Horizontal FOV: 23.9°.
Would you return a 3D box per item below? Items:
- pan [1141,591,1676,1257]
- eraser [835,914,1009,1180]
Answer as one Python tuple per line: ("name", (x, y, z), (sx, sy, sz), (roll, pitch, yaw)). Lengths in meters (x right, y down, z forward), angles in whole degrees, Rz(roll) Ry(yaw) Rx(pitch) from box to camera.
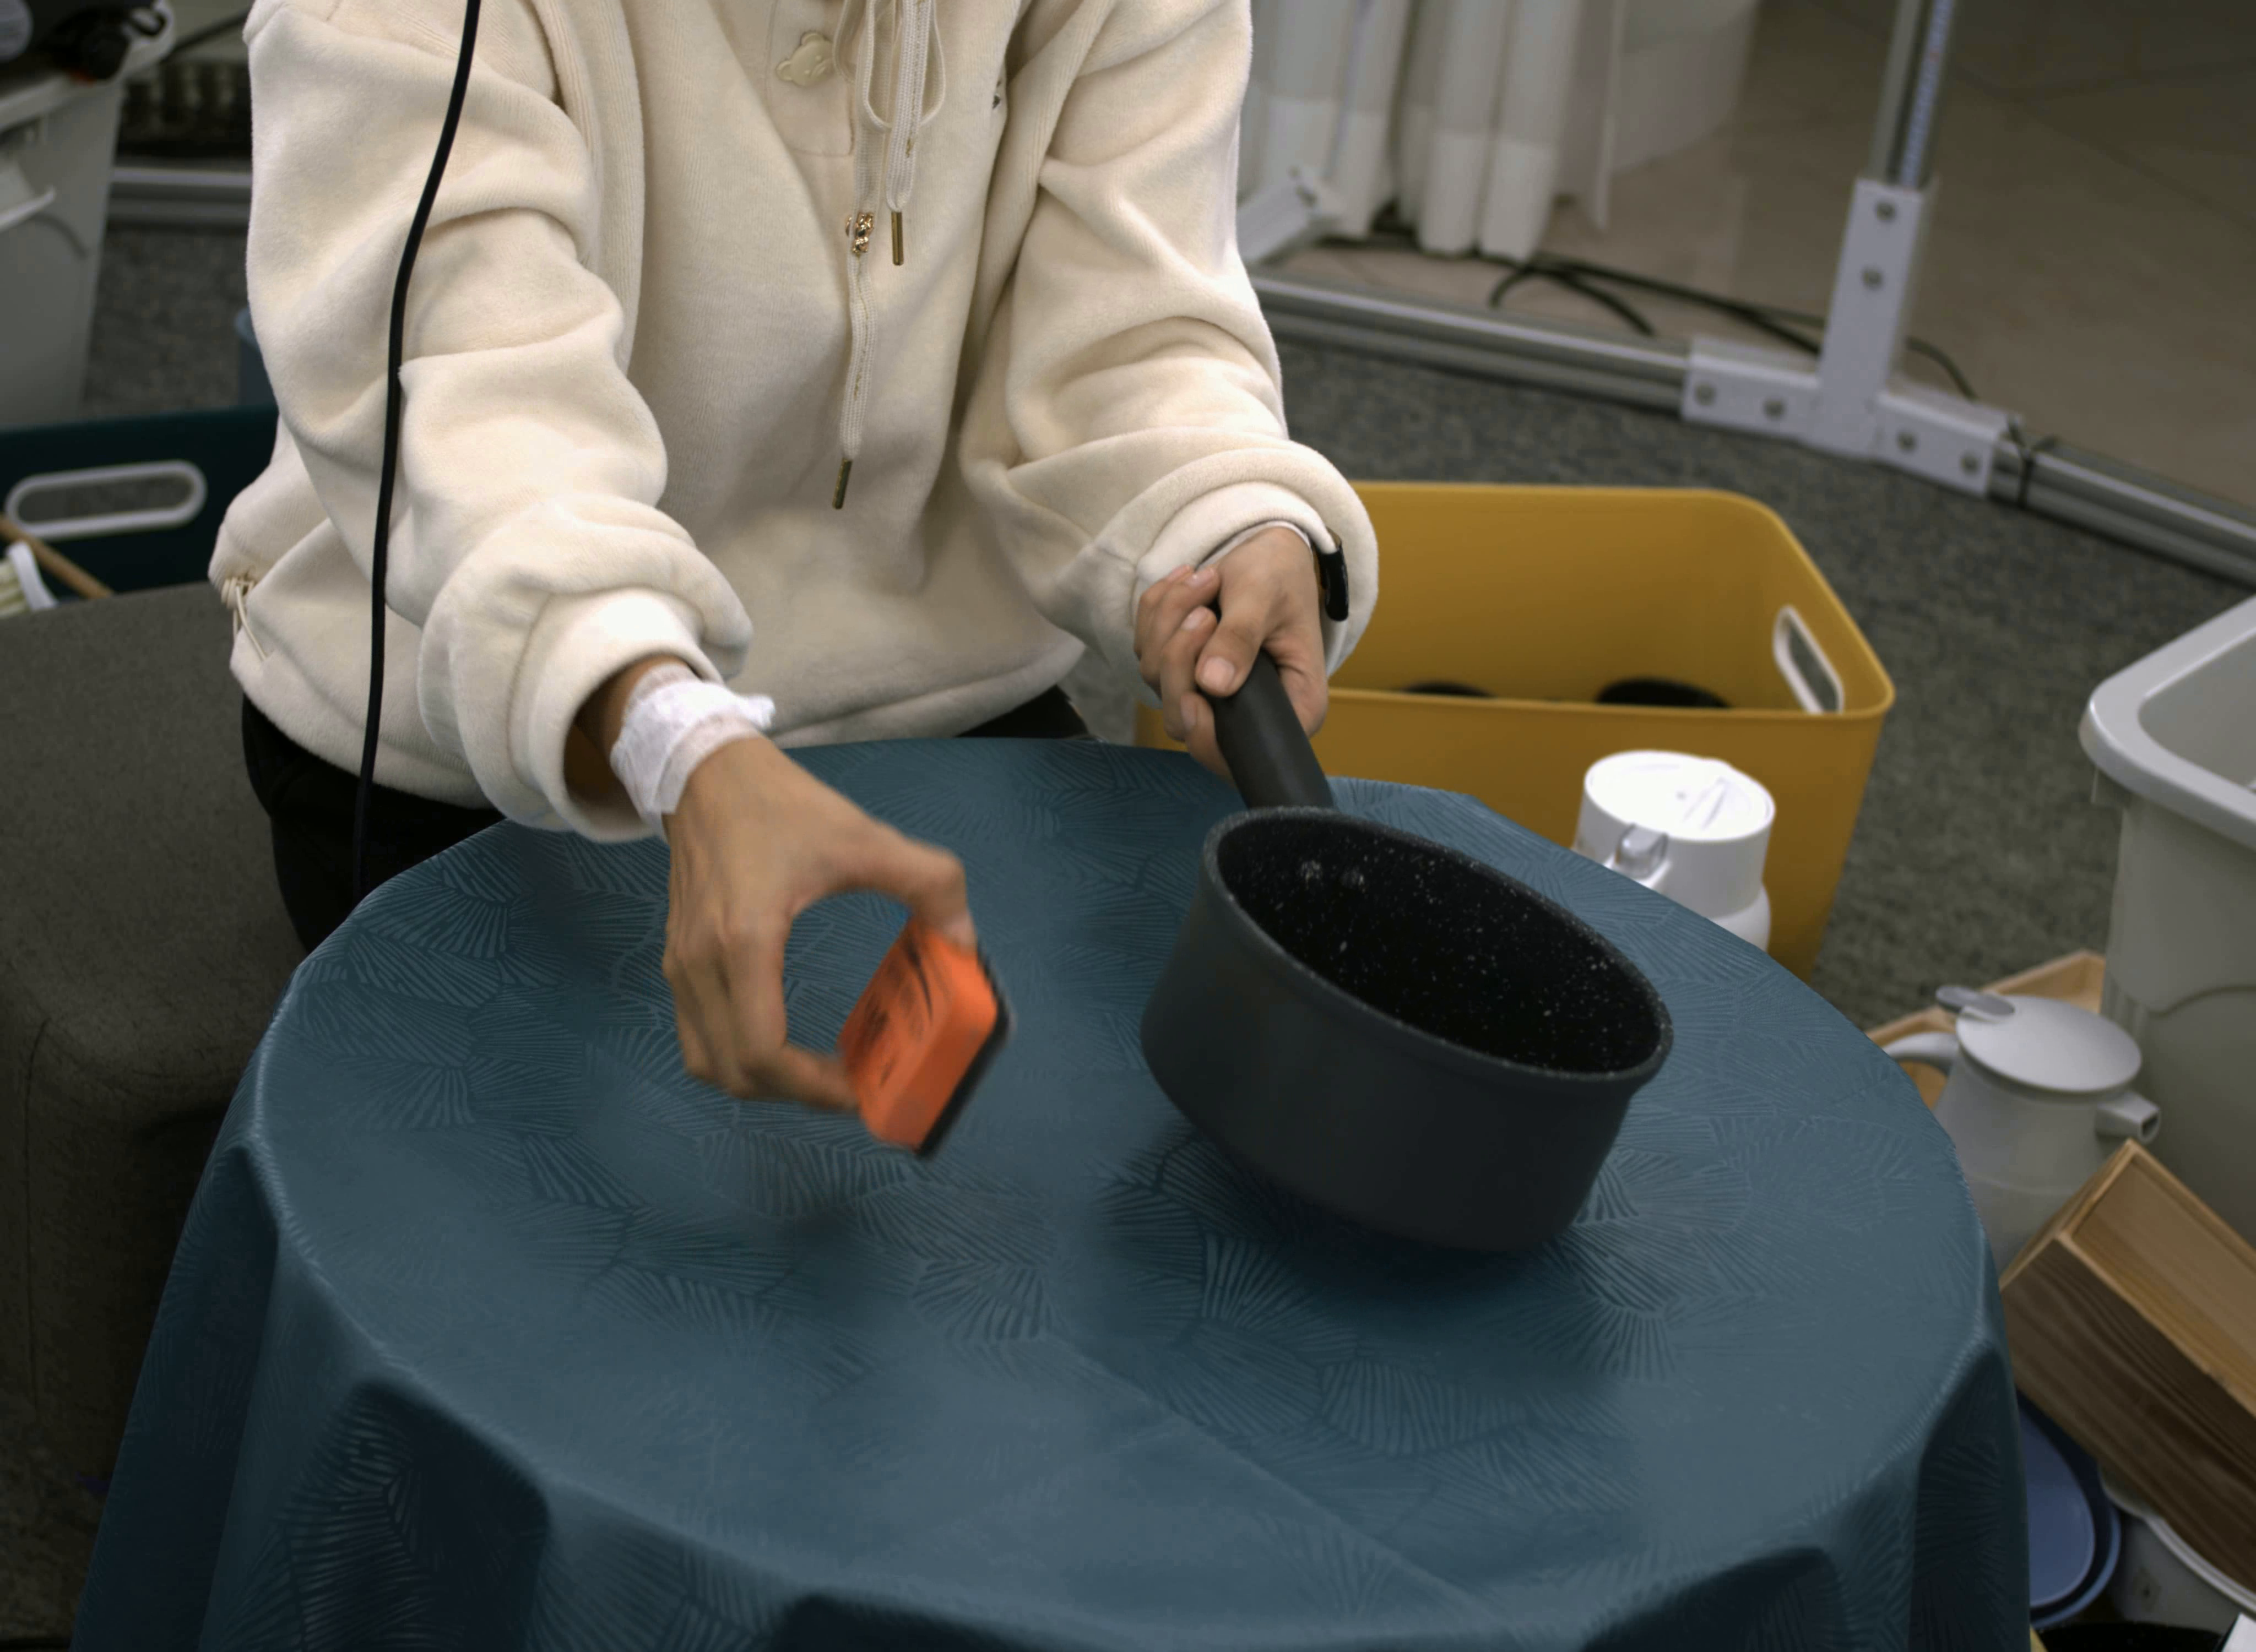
("pan", (0.070, 0.030, 1.858), (0.170, 0.086, 0.331), (13, 25, -24))
("eraser", (-0.068, 0.071, 1.732), (0.023, 0.059, 0.108), (30, 10, -17))
